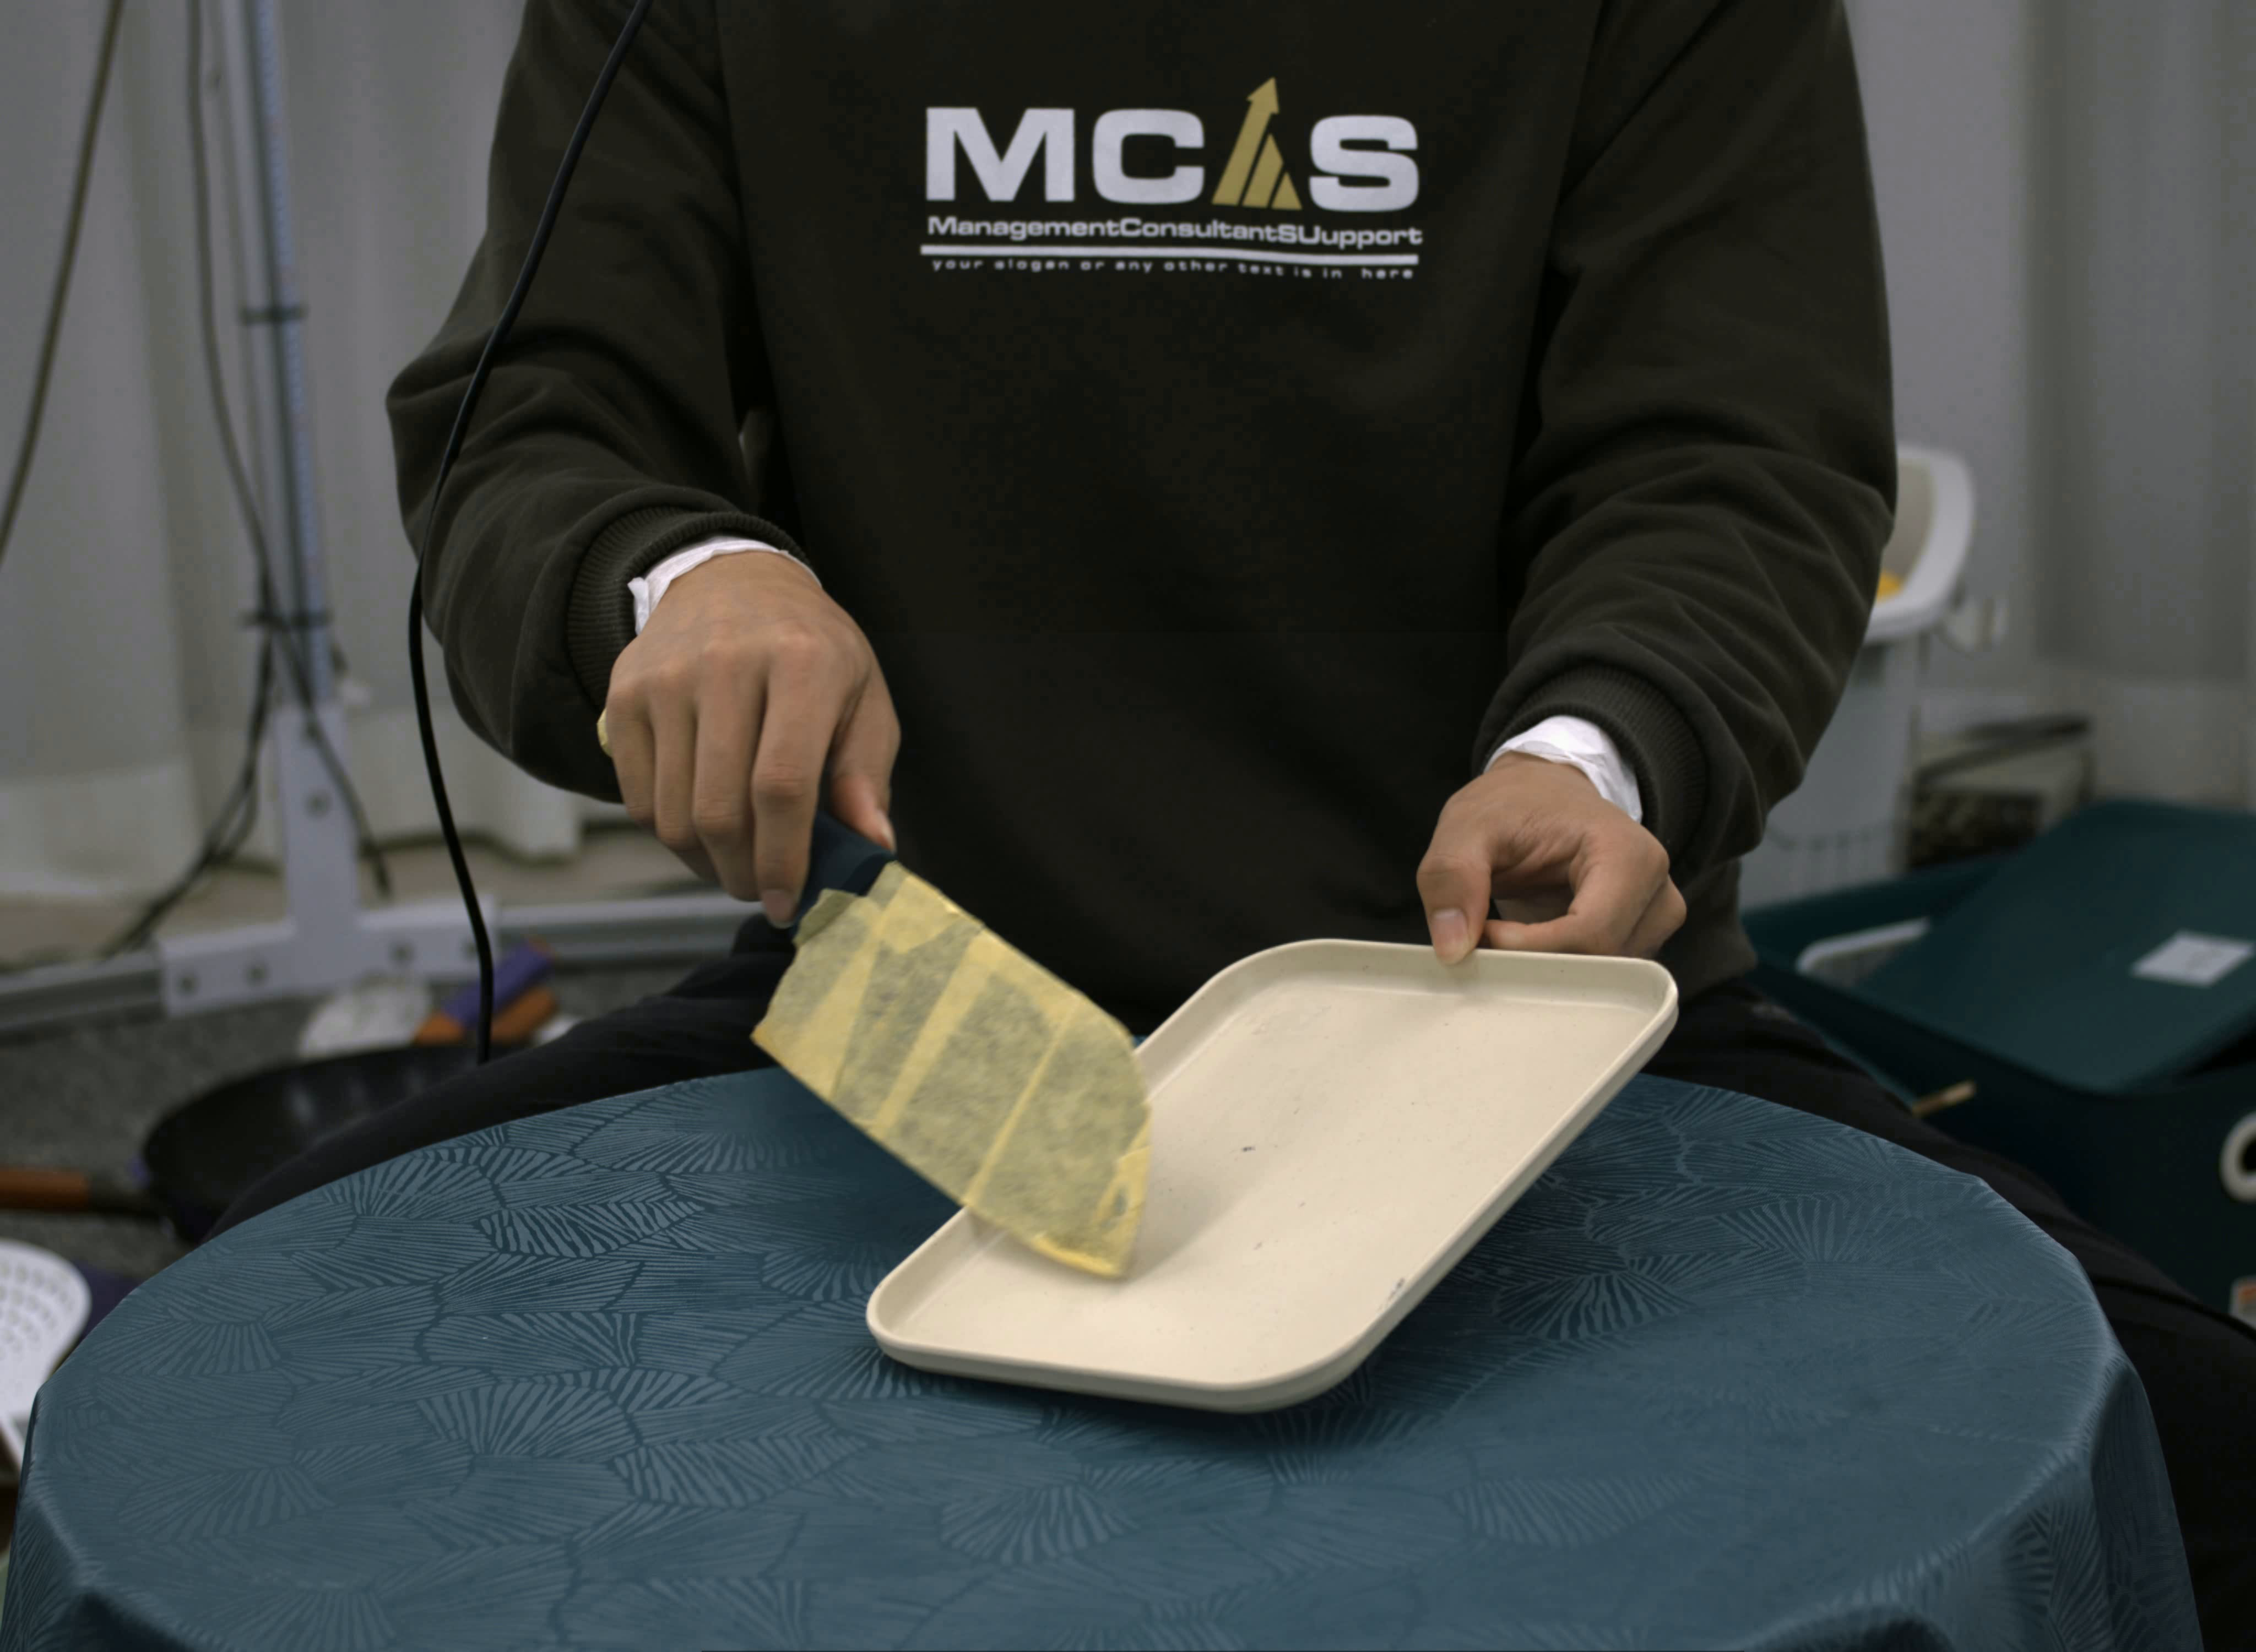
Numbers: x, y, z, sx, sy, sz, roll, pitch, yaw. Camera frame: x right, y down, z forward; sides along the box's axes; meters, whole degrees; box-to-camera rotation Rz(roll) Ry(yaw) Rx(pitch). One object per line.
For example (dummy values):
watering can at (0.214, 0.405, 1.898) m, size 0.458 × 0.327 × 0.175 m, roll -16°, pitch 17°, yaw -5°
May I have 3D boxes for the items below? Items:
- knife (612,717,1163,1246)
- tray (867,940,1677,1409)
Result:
knife at (-0.080, 0.044, 1.679) m, size 0.027 × 0.081 × 0.293 m, roll 29°, pitch 7°, yaw -48°
tray at (0.046, 0.101, 1.610) m, size 0.172 × 0.017 × 0.241 m, roll 2°, pitch 29°, yaw 37°
